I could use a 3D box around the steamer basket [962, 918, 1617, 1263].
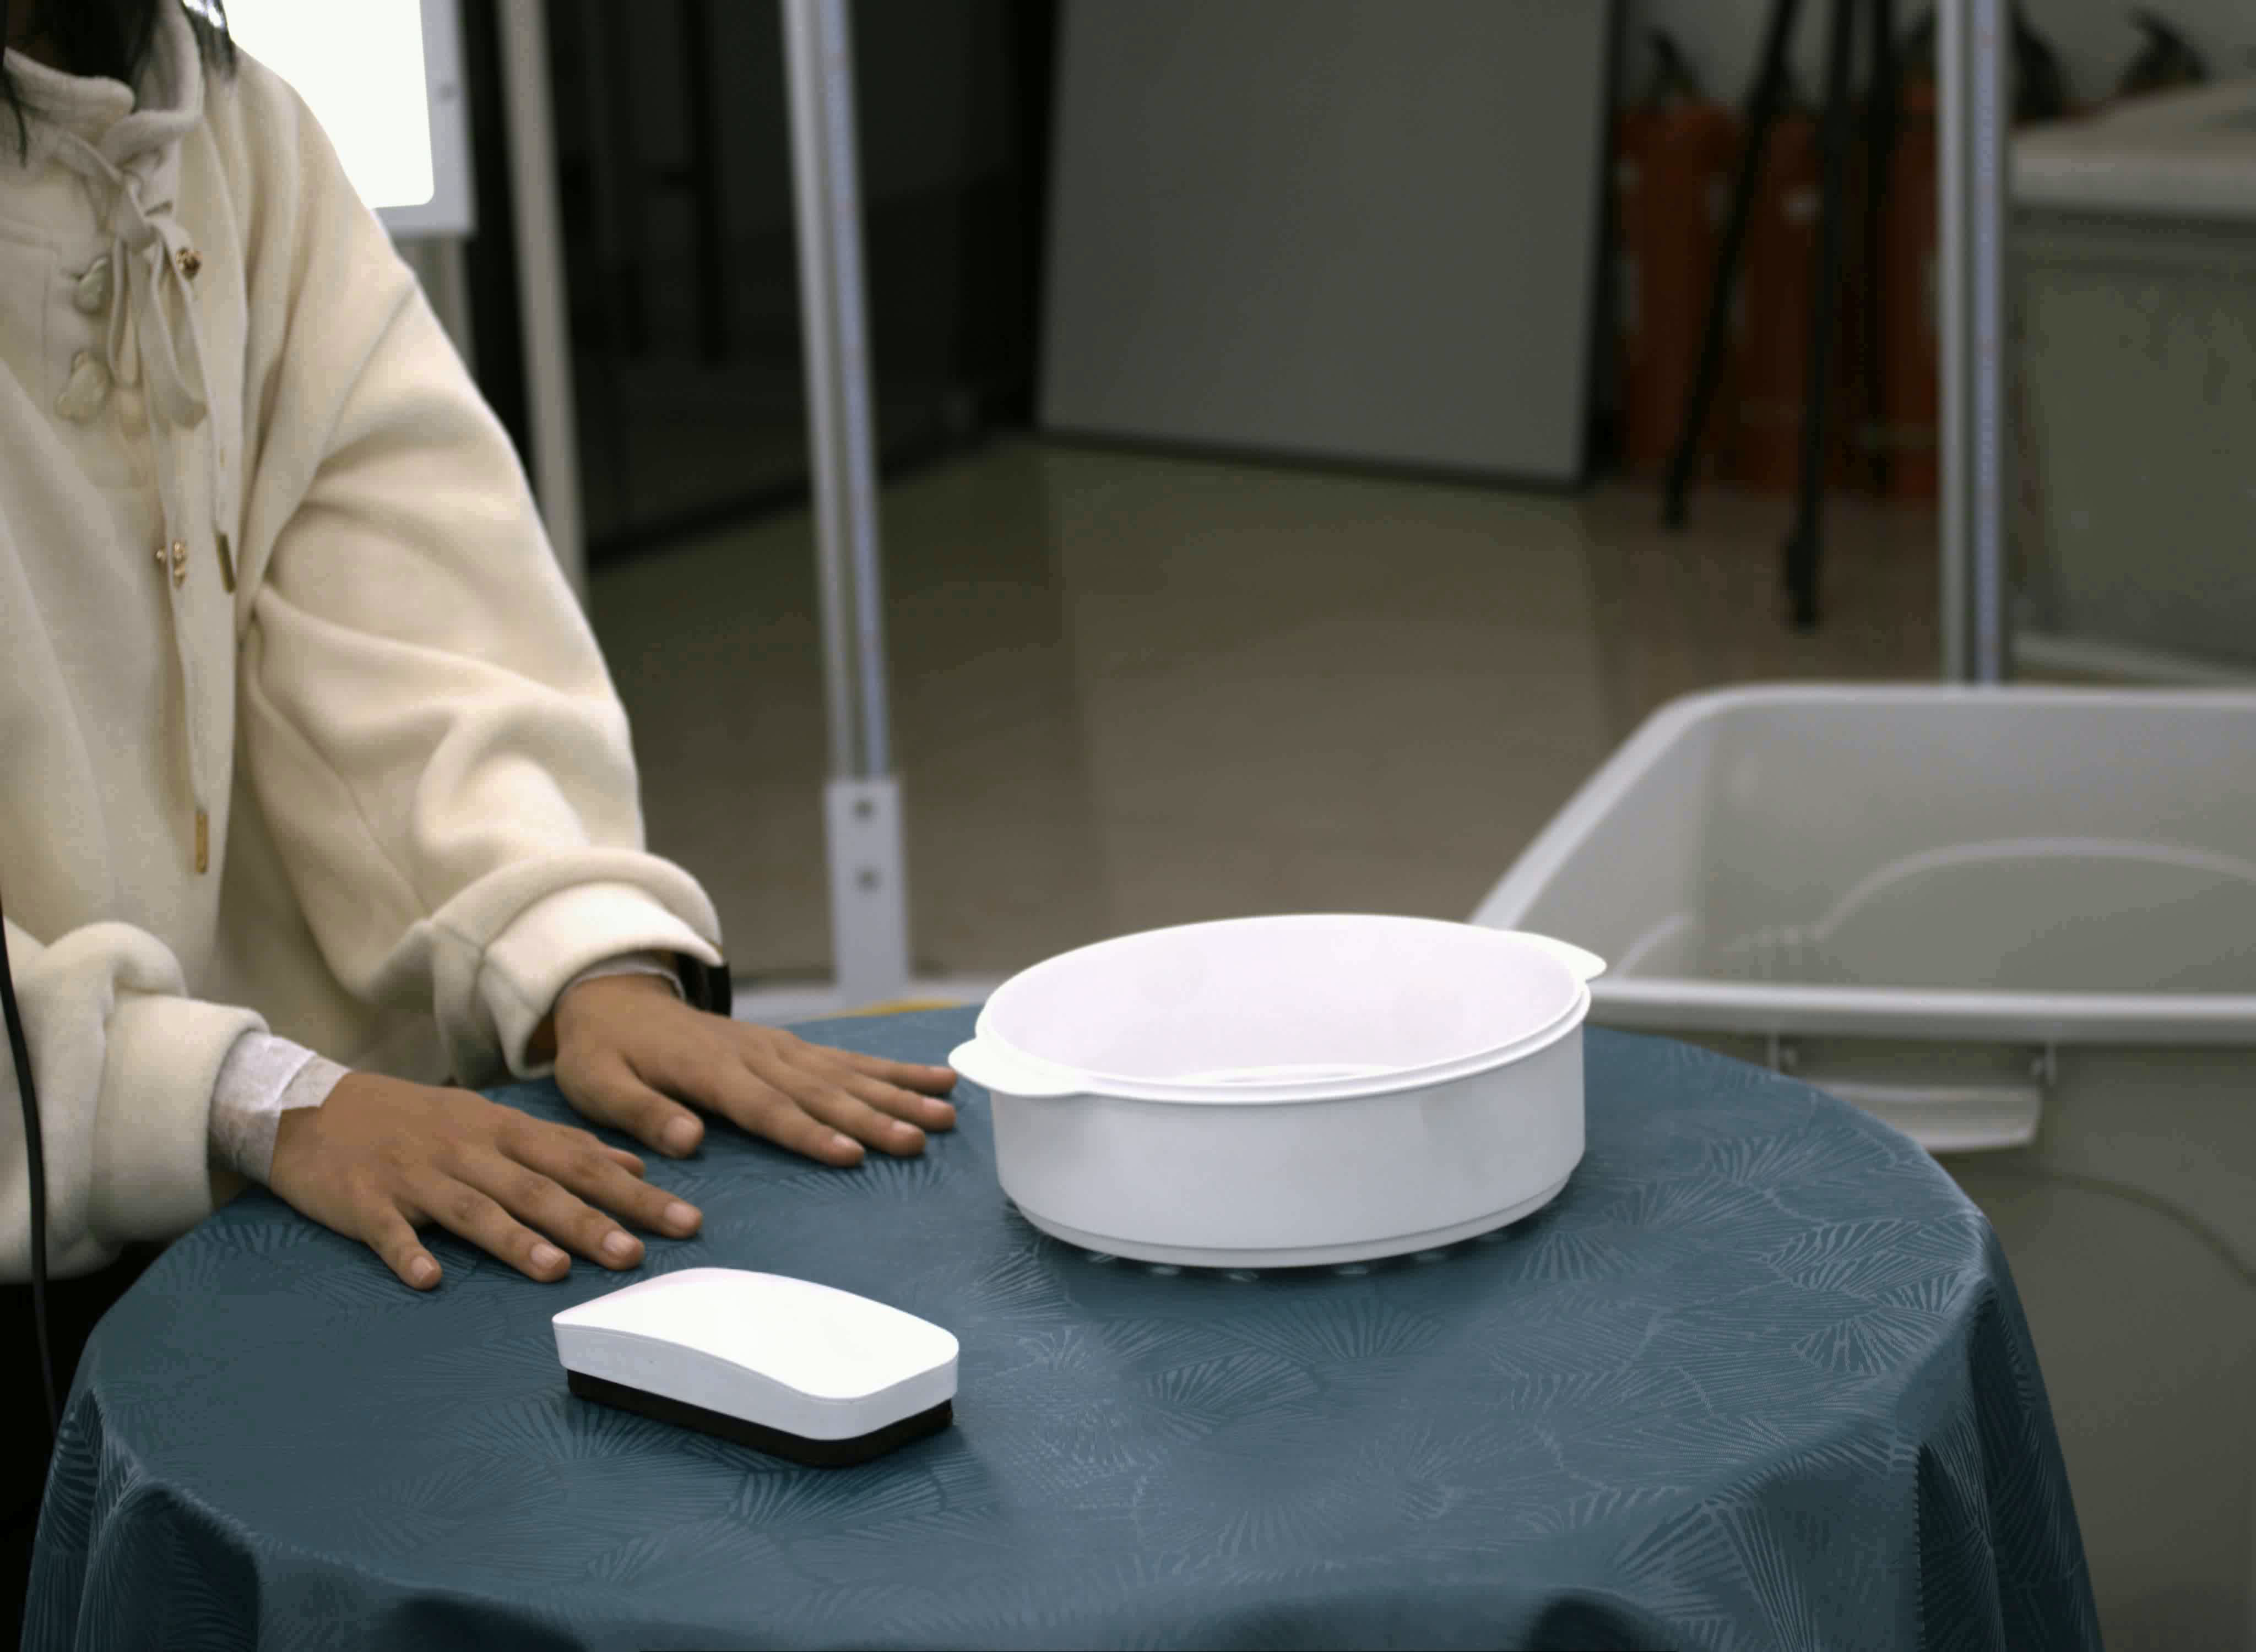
[{"bbox_3d":[0.056,0.086,1.754,0.225,0.070,0.204,-10,14,-27],"label":"steamer basket"}]

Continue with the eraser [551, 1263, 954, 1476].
[{"bbox_3d":[-0.110,0.157,1.592,0.062,0.035,0.132,-17,19,-42],"label":"eraser"}]
